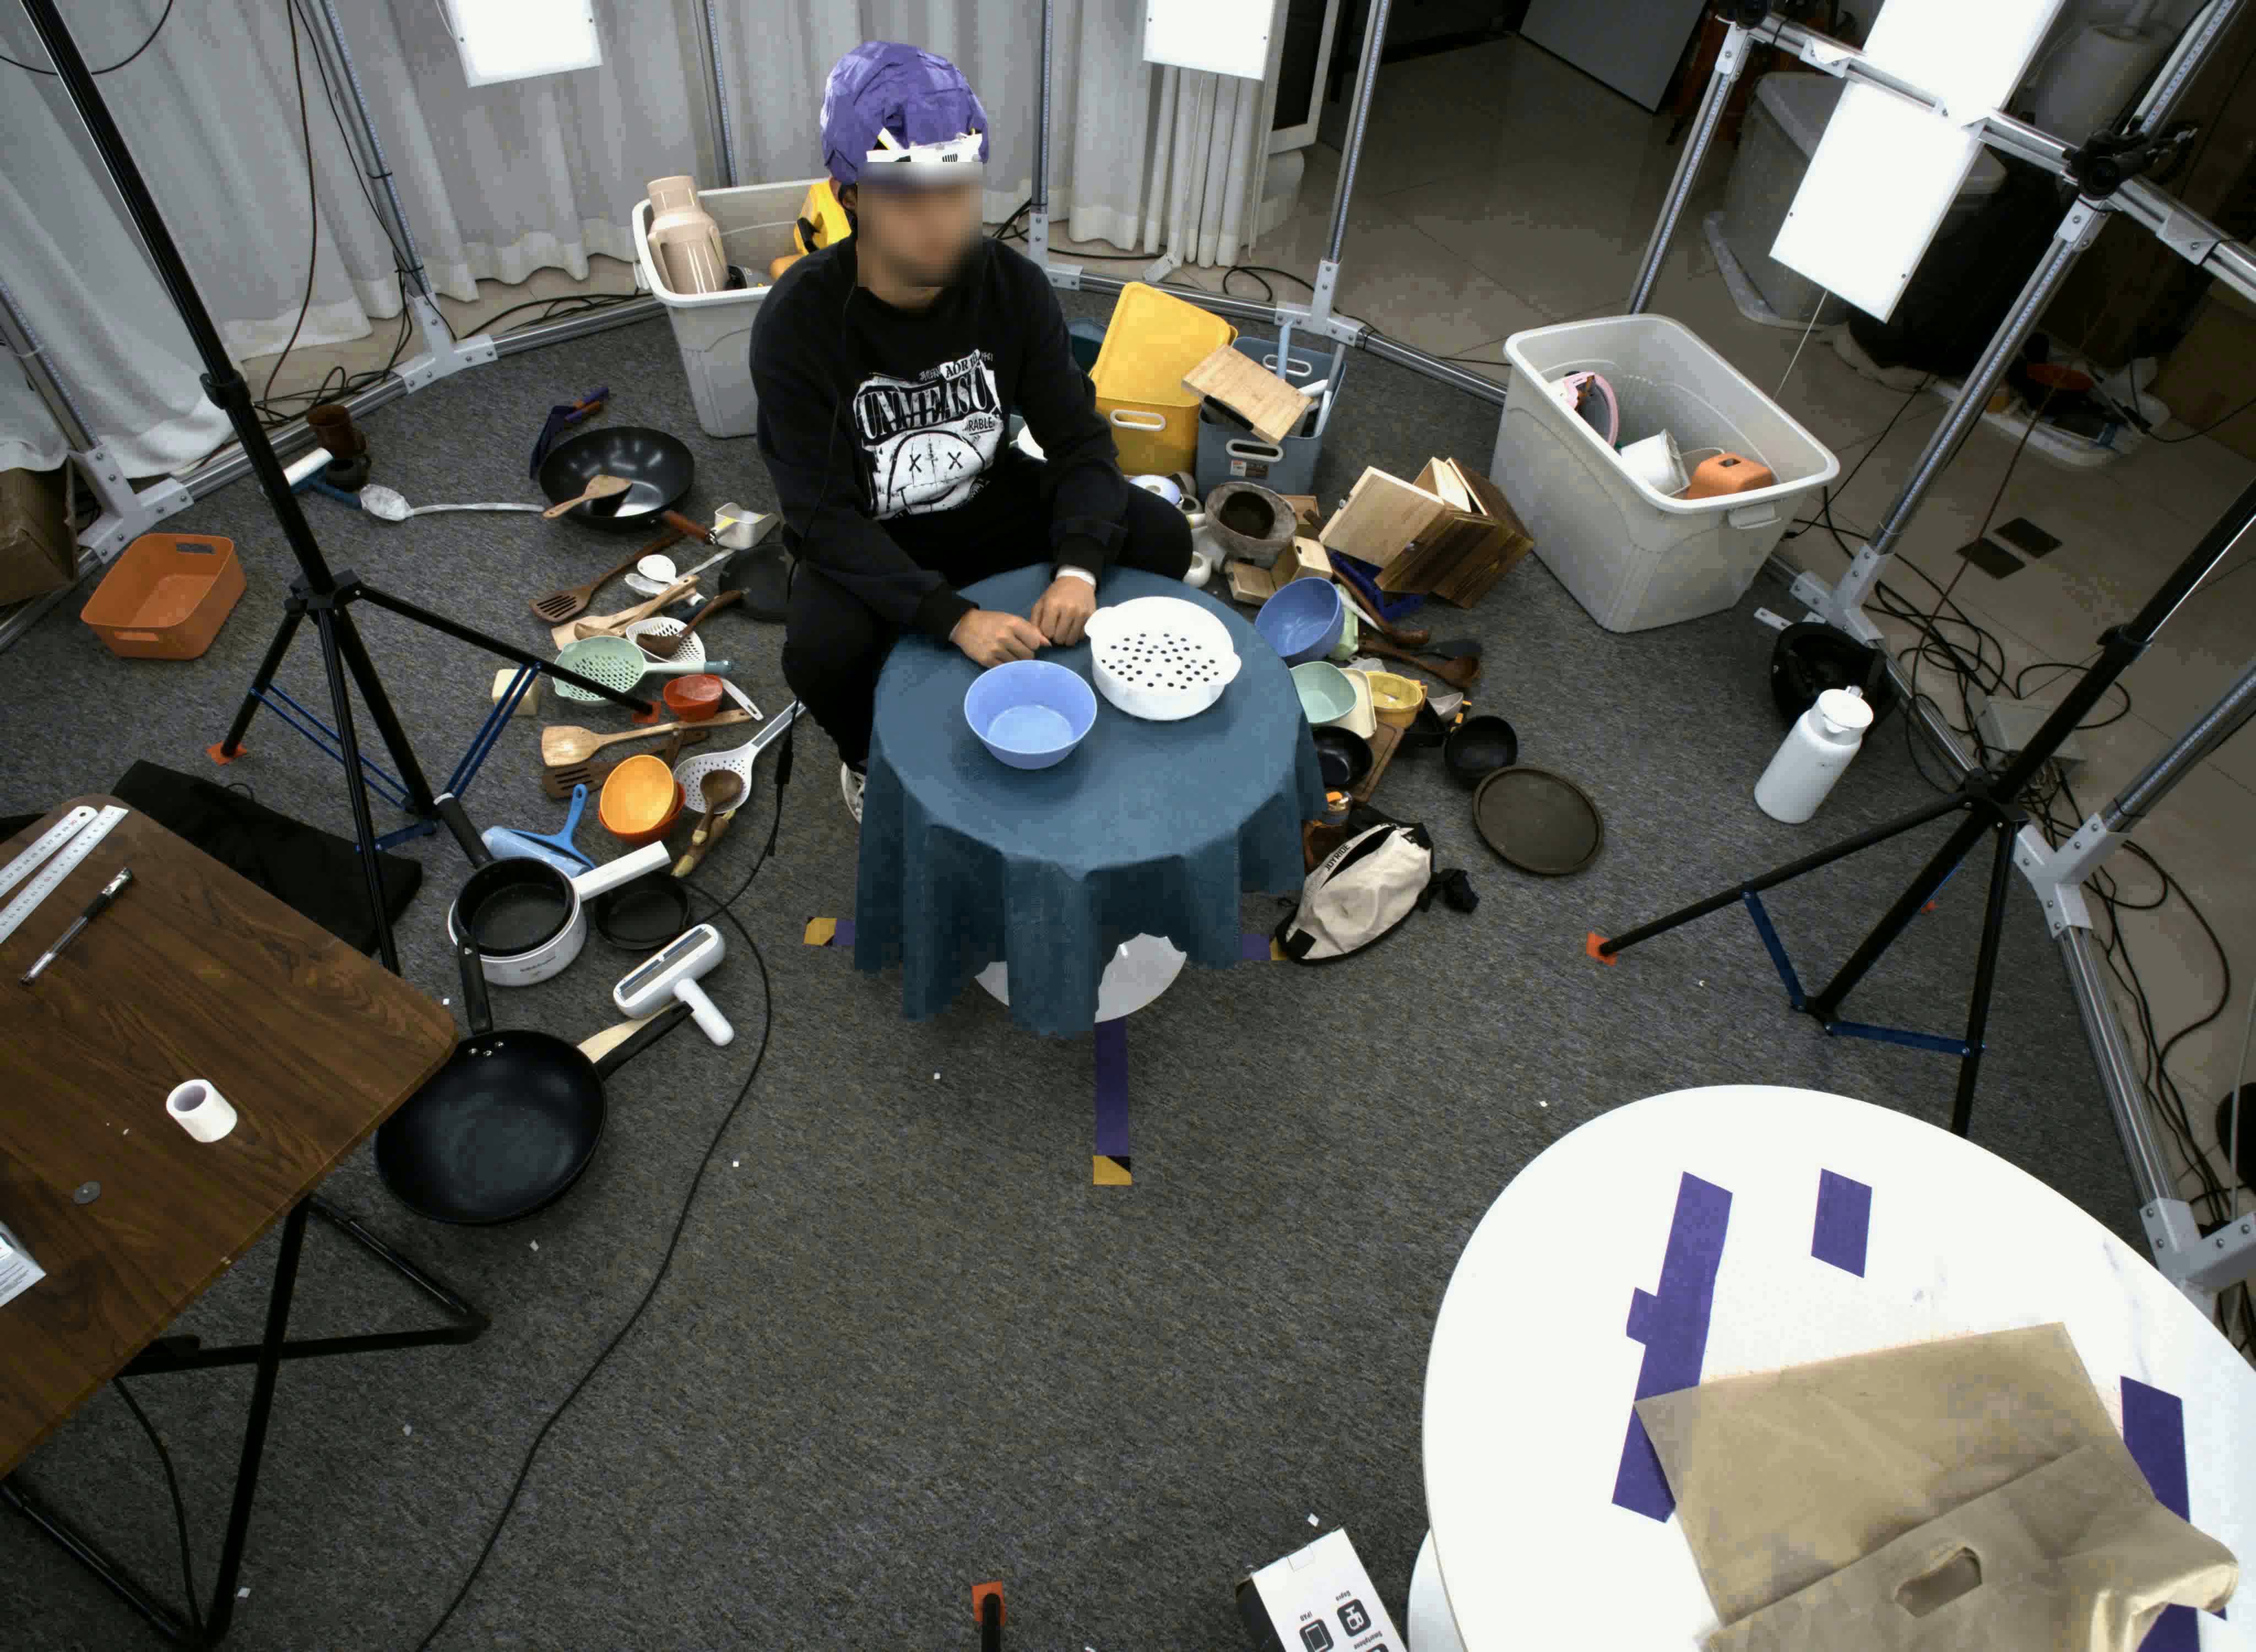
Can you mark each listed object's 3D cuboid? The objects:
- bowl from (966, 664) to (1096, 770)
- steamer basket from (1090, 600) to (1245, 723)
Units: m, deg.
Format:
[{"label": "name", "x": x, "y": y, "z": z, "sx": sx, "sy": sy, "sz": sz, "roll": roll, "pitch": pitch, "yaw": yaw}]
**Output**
[{"label": "bowl", "x": -0.132, "y": -0.139, "z": 1.751, "sx": 0.176, "sy": 0.068, "sz": 0.180, "roll": 2, "pitch": 48, "yaw": -3}, {"label": "steamer basket", "x": 0.052, "y": -0.236, "z": 1.849, "sx": 0.232, "sy": 0.067, "sz": 0.205, "roll": 24, "pitch": 51, "yaw": 13}]
